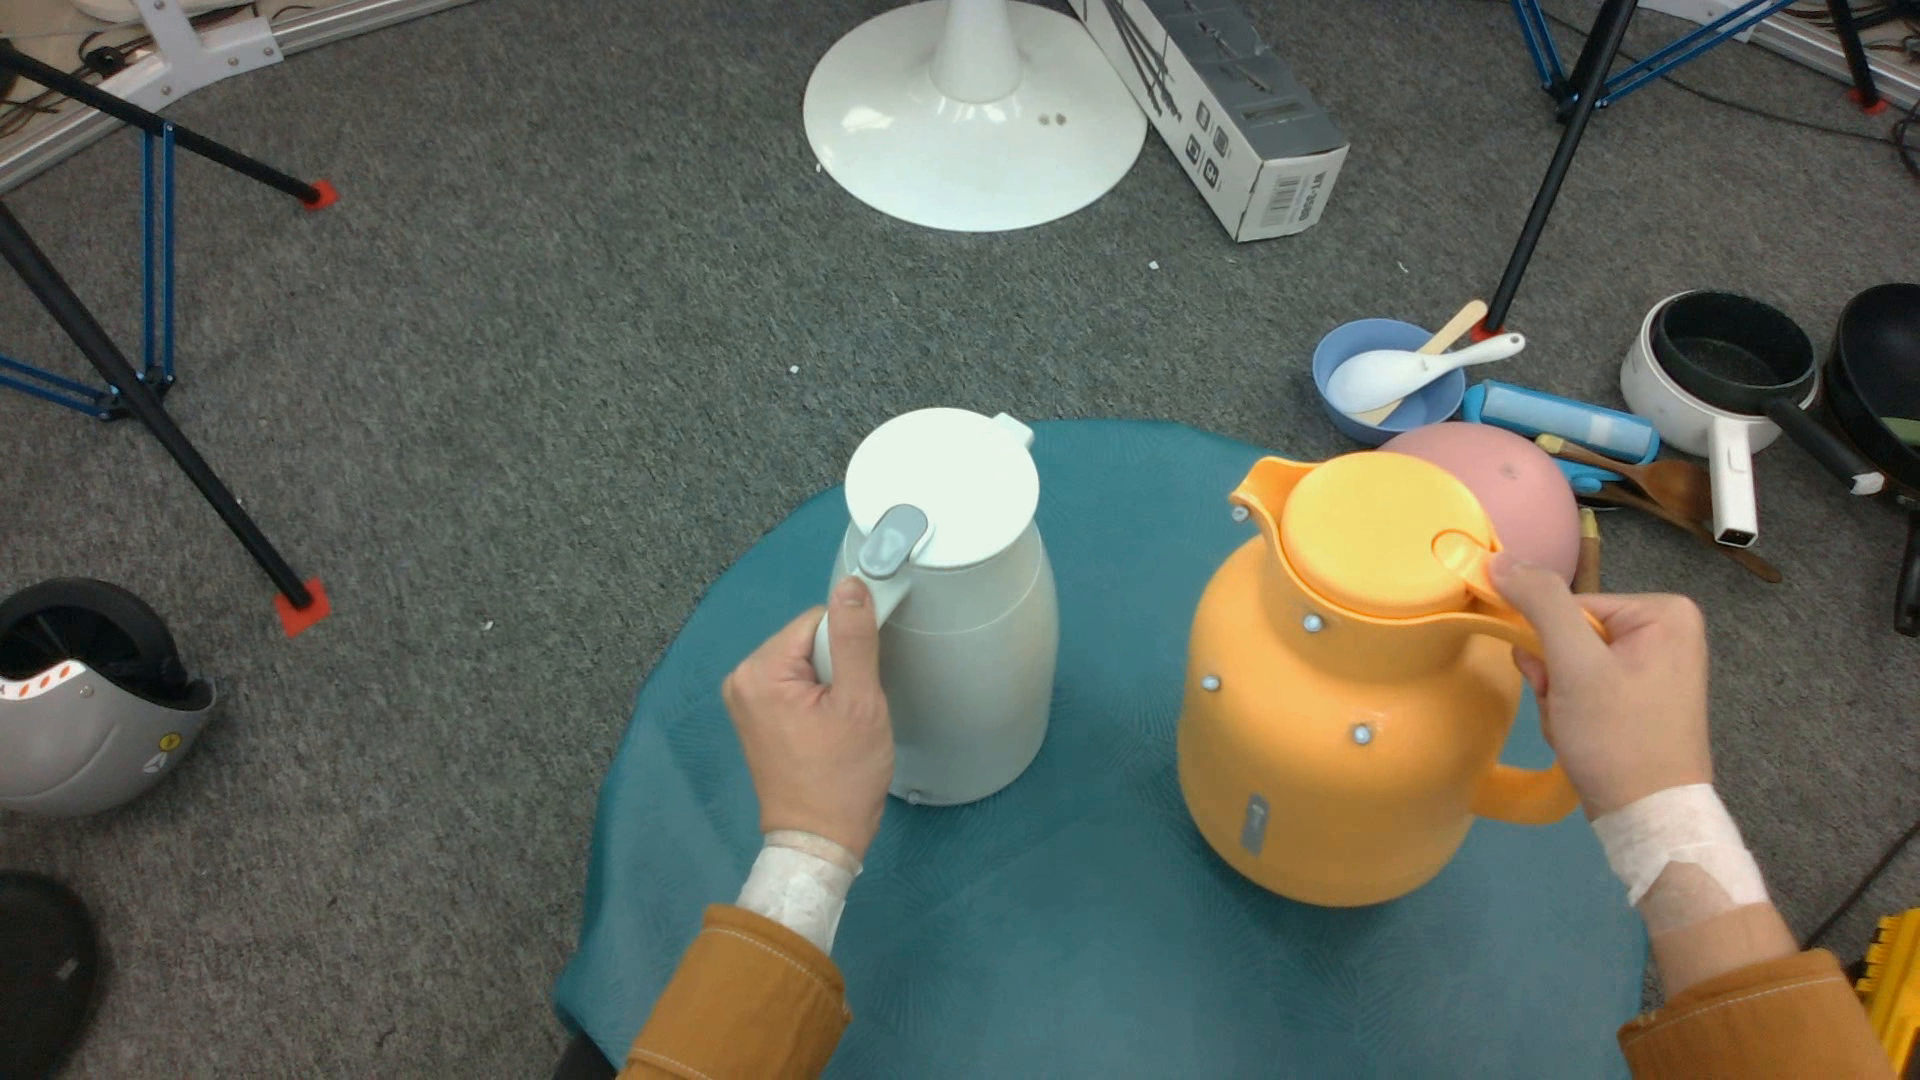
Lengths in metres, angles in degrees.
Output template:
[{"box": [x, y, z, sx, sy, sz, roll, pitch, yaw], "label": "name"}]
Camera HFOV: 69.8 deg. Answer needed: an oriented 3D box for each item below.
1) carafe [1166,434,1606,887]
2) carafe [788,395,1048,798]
[{"box": [0.205, 0.070, 0.699, 0.202, 0.259, 0.164, 30, 62, 26], "label": "carafe"}, {"box": [-0.026, 0.044, 0.732, 0.132, 0.247, 0.168, 32, 63, 17], "label": "carafe"}]
